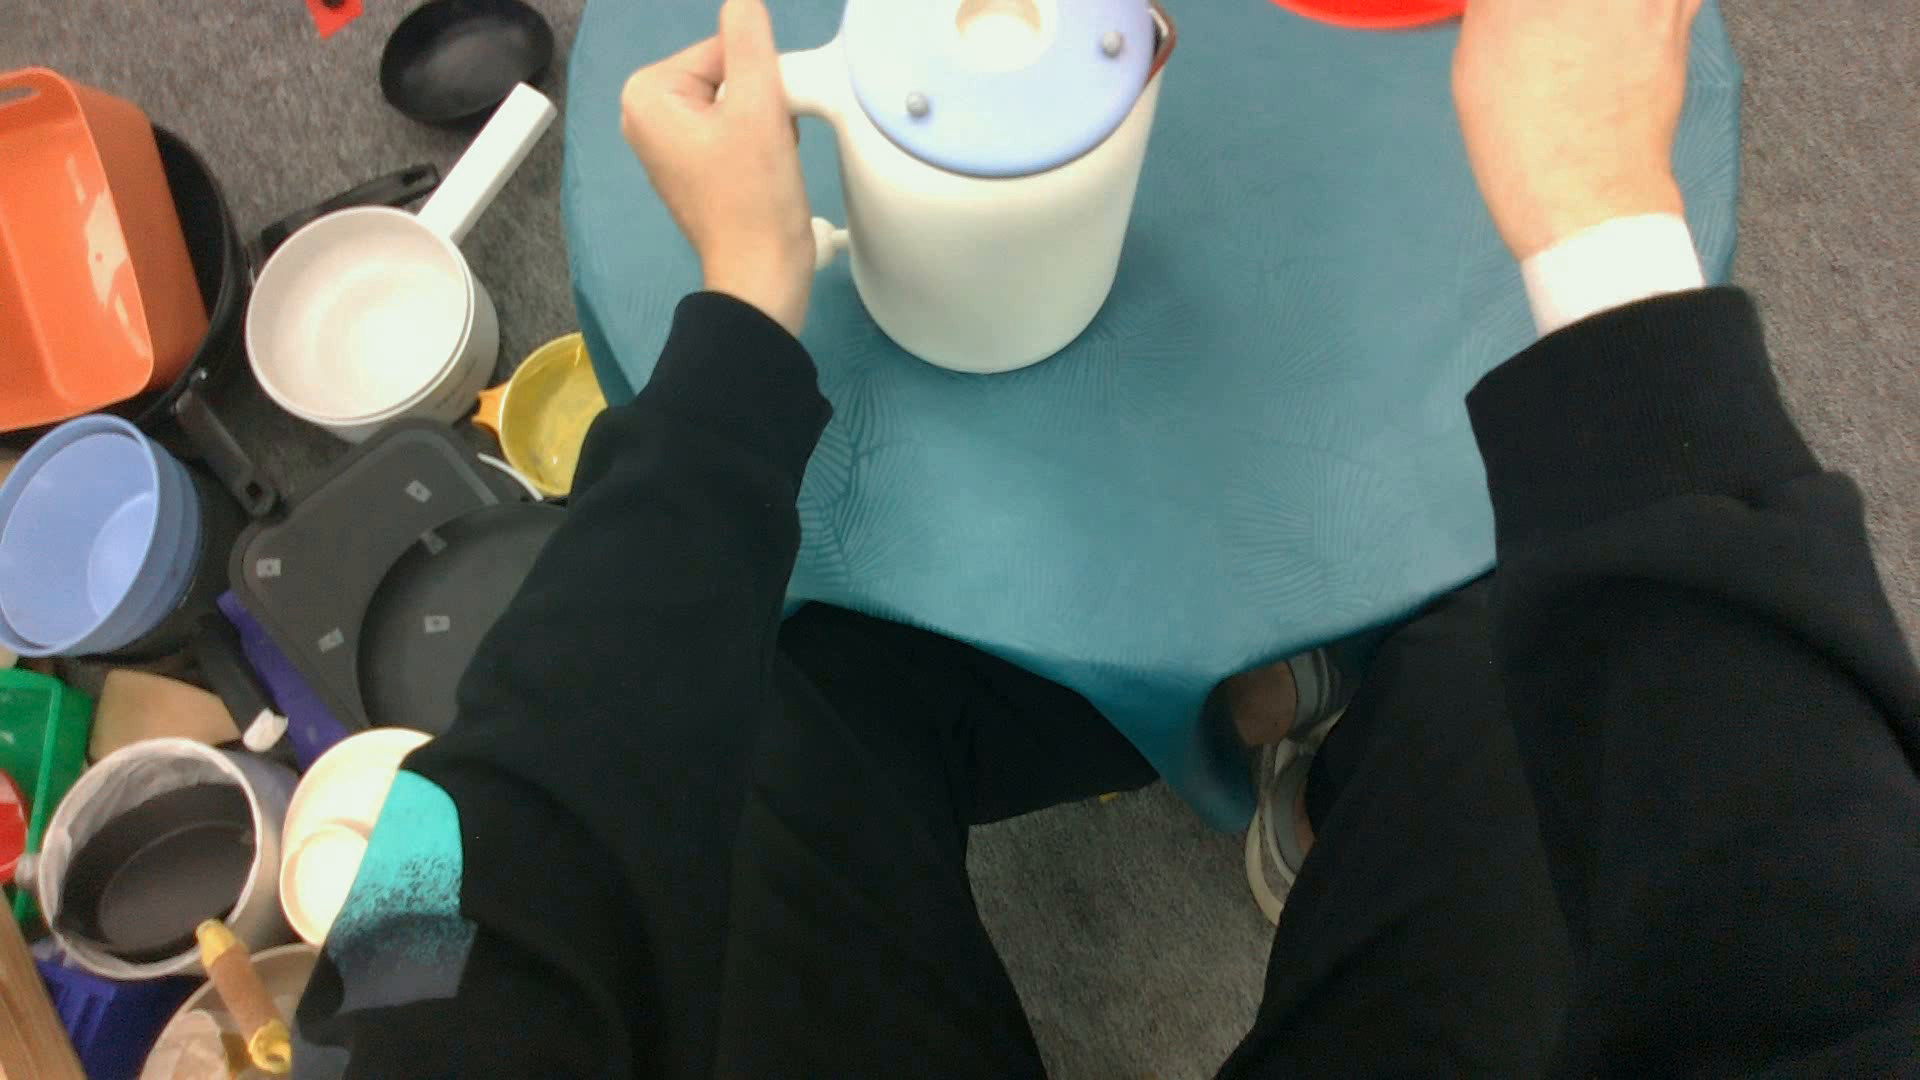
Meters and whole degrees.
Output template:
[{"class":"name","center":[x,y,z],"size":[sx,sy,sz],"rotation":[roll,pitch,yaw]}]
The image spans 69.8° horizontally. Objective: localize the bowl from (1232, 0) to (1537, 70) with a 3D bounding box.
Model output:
[{"class":"bowl","center":[0.164,-0.240,0.518],"size":[0.148,0.105,0.148],"rotation":[-3,82,22]}]

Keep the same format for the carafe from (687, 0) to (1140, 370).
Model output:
[{"class":"carafe","center":[-0.023,-0.165,0.605],"size":[0.191,0.182,0.132],"rotation":[-6,71,-1]}]
